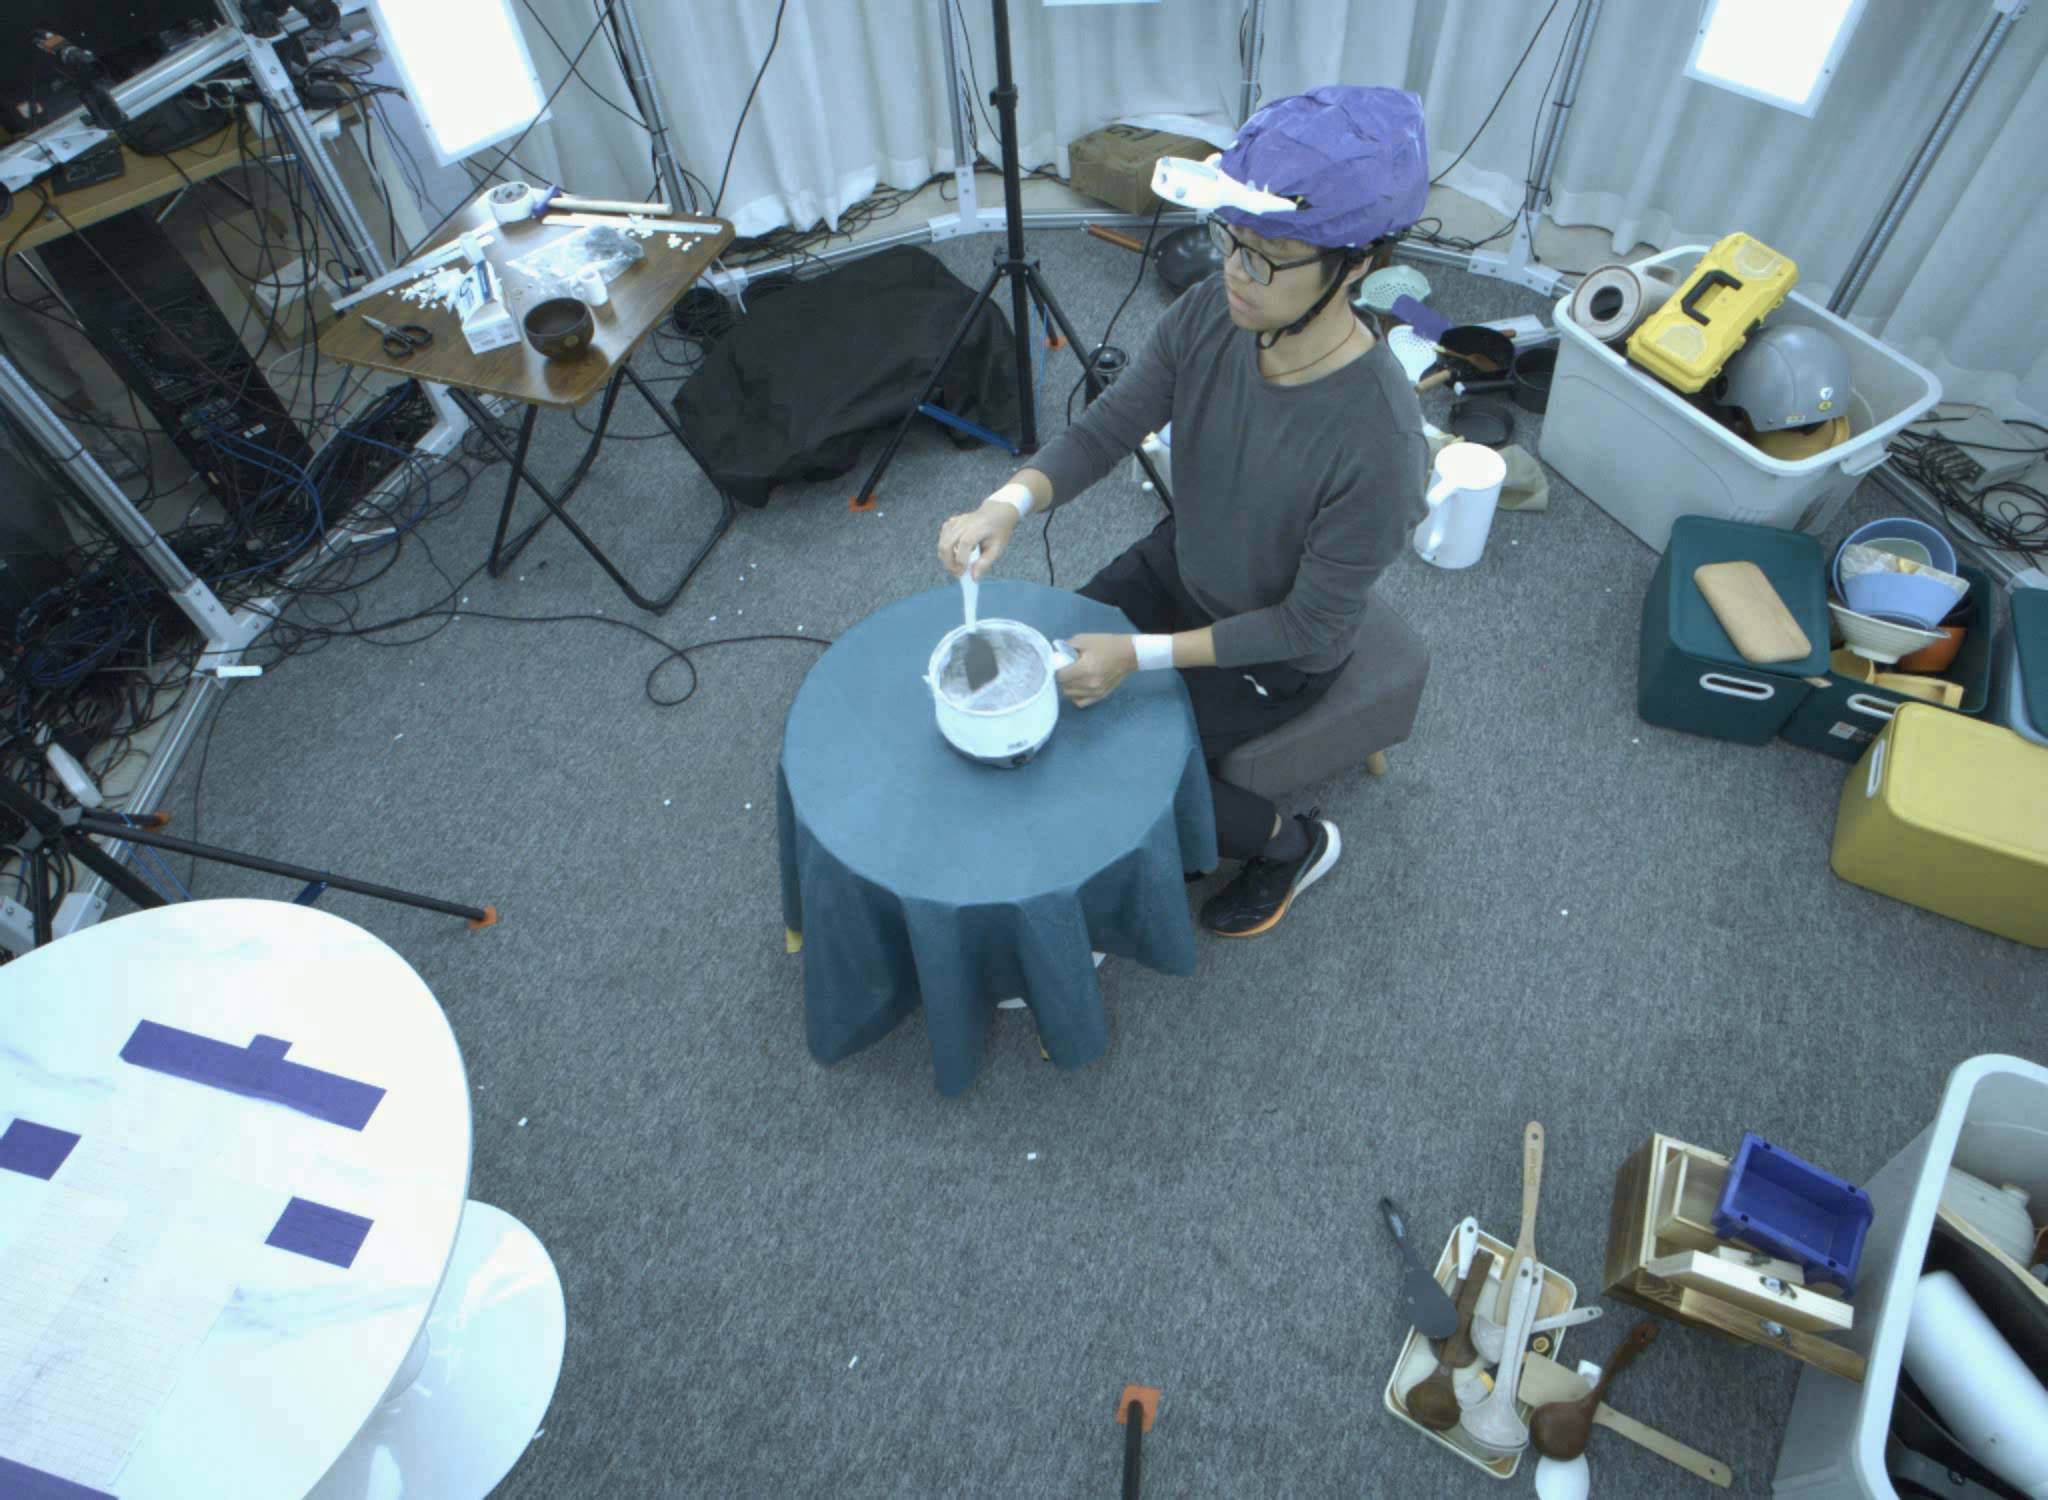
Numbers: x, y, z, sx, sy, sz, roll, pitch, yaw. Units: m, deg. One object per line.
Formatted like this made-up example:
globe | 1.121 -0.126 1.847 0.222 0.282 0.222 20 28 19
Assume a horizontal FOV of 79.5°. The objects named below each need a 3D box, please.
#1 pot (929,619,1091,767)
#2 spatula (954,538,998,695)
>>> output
pot | -0.016 -0.090 1.775 0.235 0.138 0.175 -20 56 -12
spatula | -0.069 -0.178 1.678 0.059 0.290 0.031 -34 61 -19
